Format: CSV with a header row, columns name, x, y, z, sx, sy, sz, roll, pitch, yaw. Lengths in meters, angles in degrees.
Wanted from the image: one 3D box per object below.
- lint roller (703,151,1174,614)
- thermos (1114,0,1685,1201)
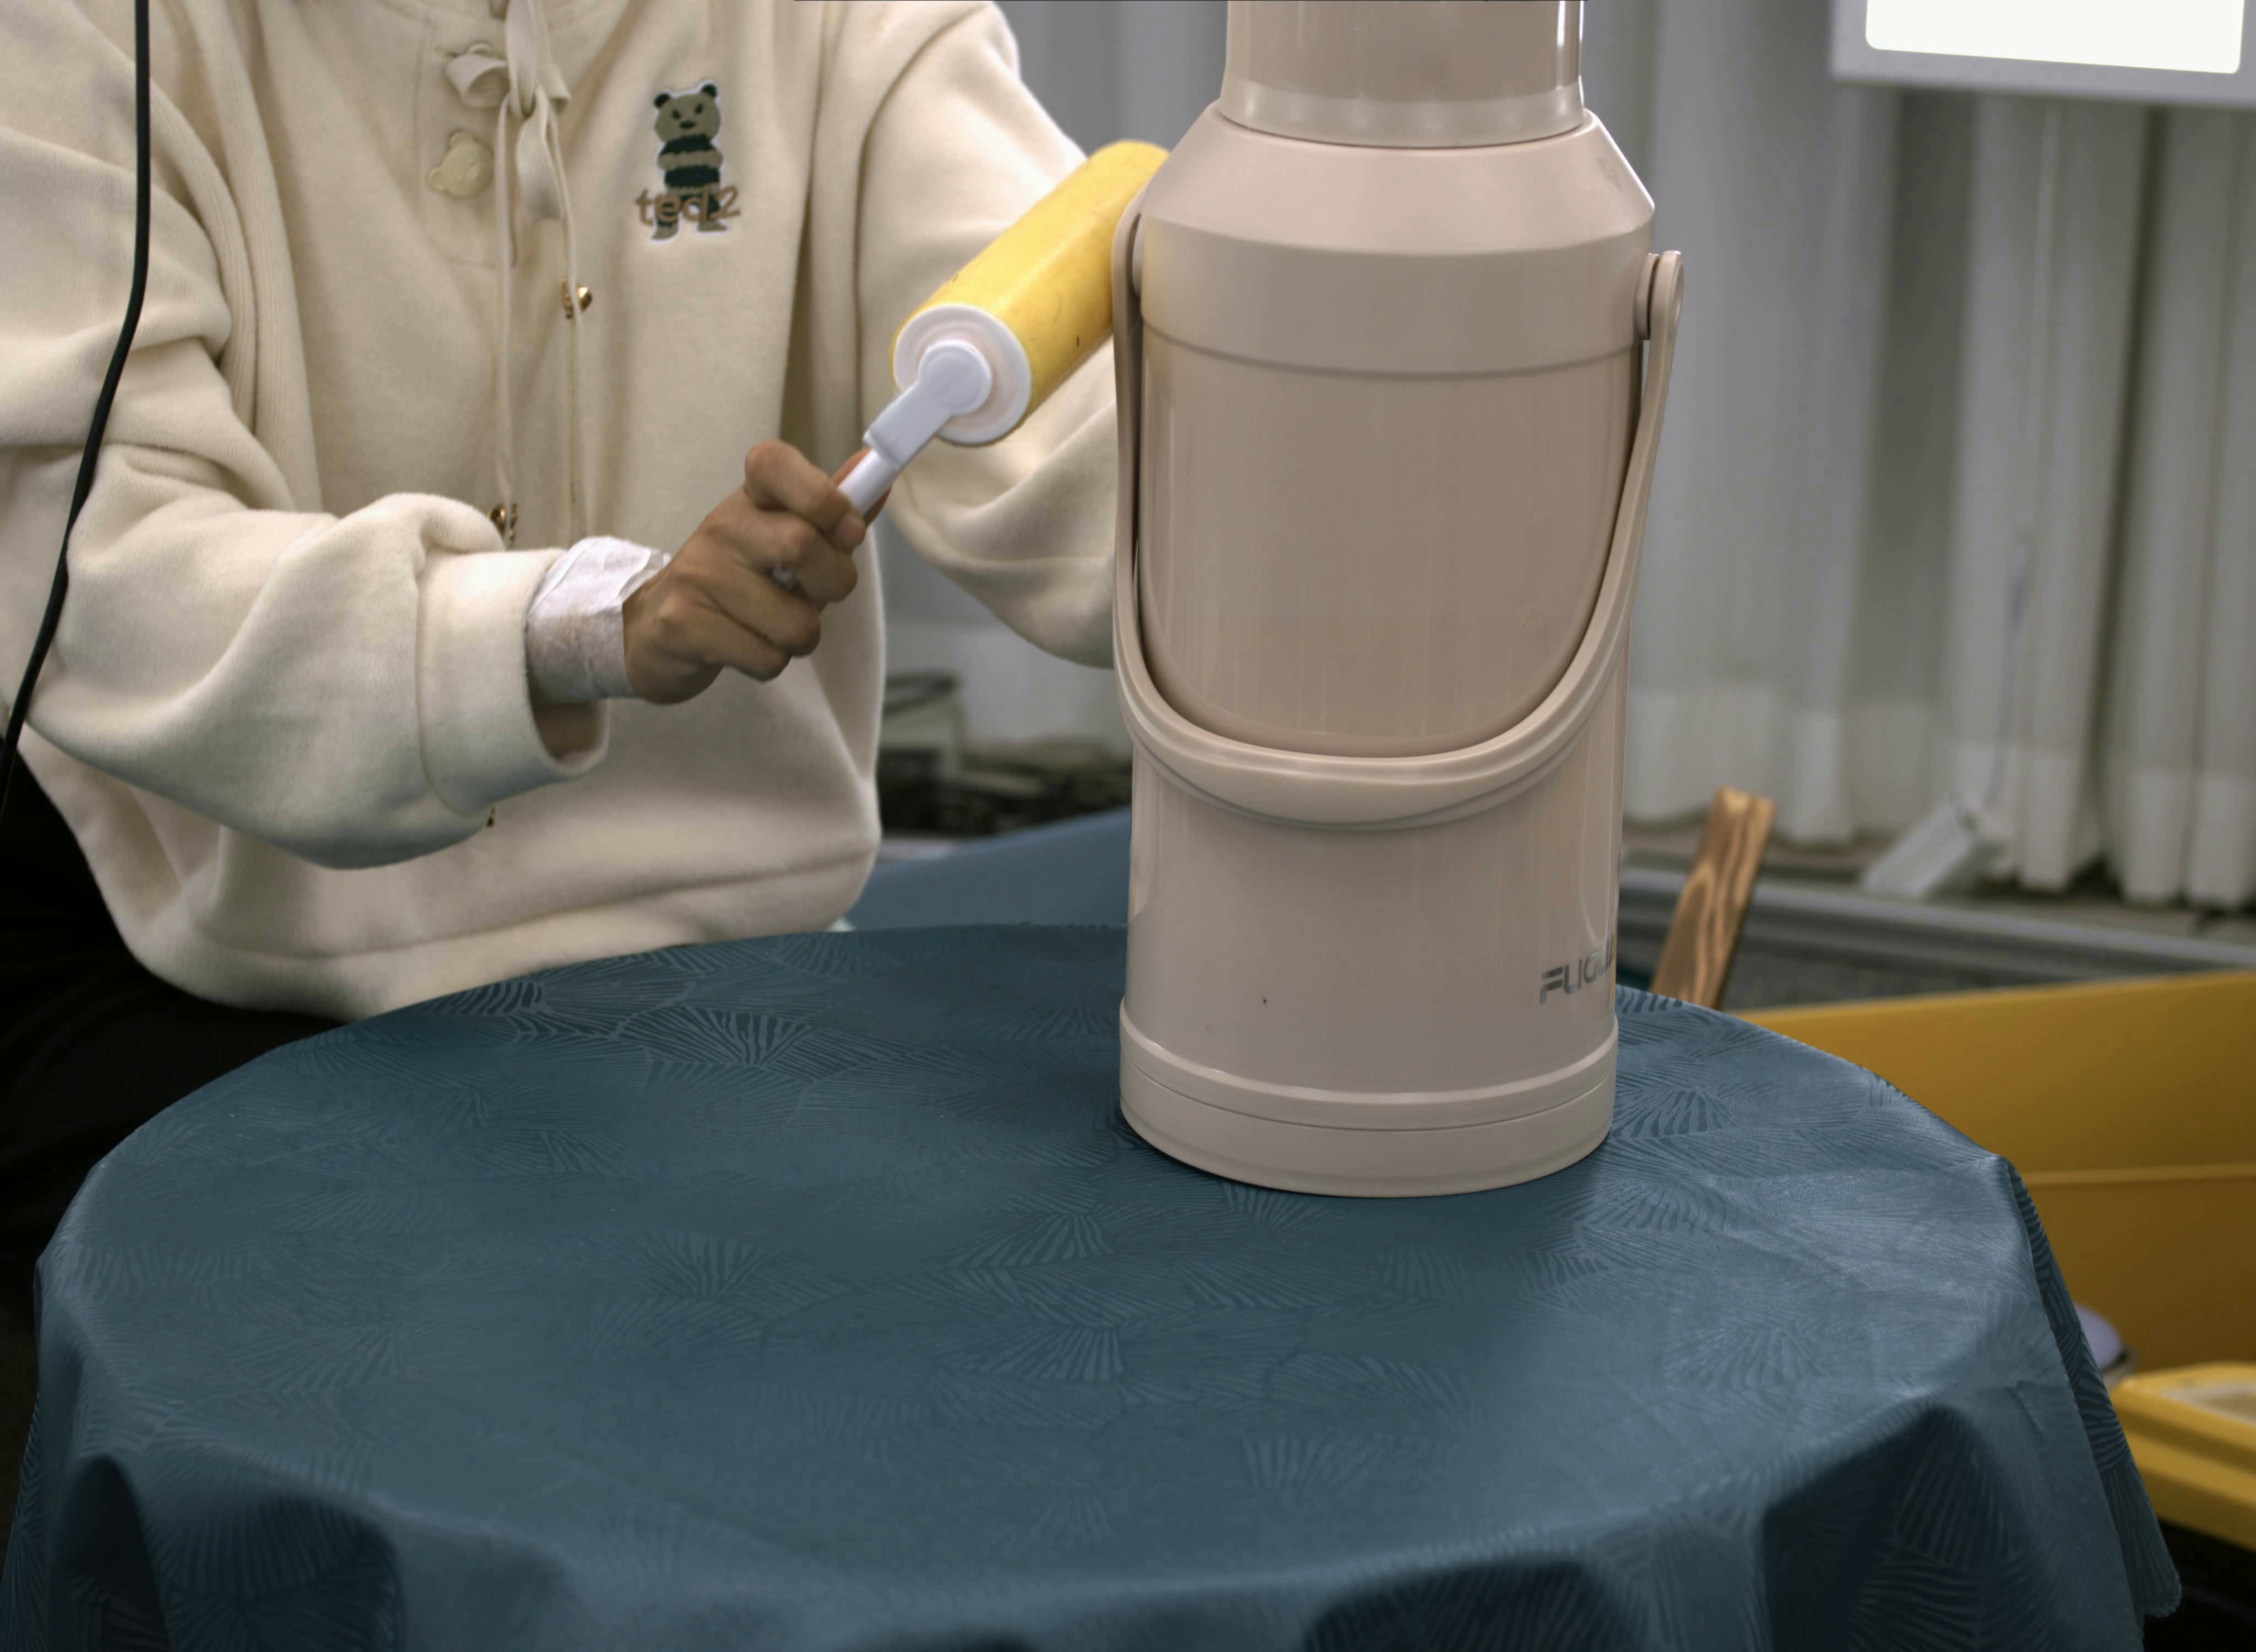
name,x,y,z,sx,sy,sz,roll,pitch,yaw
lint roller,-0.074,-0.133,1.669,0.191,0.051,0.174,-30,9,29
thermos,0.085,-0.102,1.638,0.174,0.410,0.207,6,19,15
